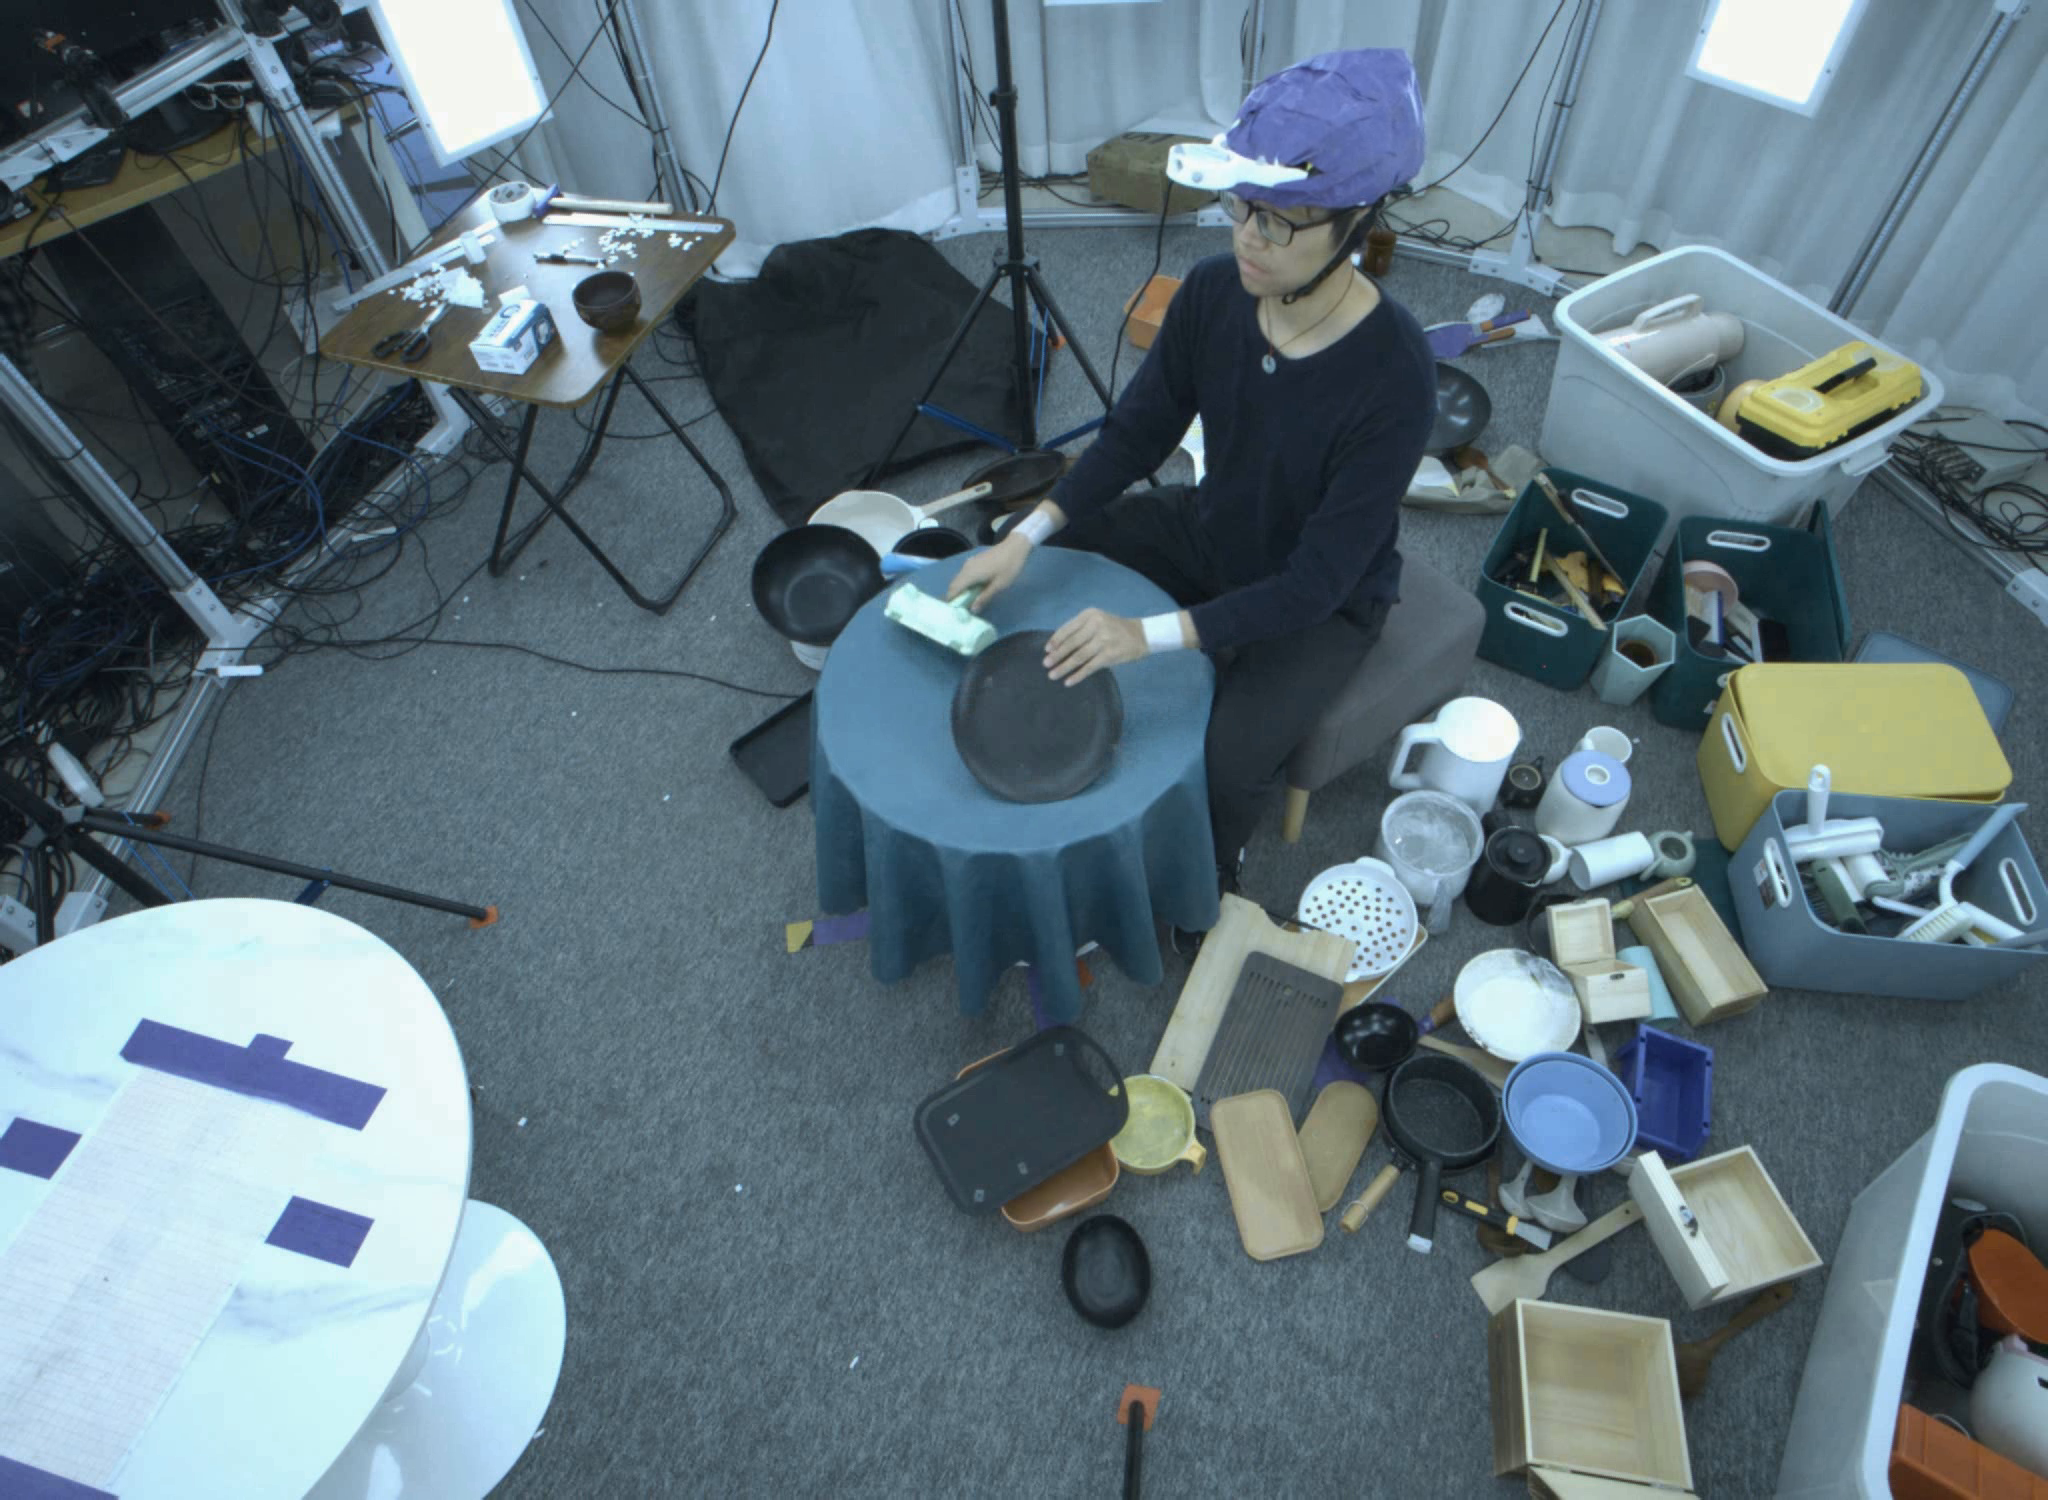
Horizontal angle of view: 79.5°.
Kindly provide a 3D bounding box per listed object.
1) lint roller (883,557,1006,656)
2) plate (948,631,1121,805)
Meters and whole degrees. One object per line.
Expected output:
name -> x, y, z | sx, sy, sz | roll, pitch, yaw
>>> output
lint roller -> -0.099, -0.245, 1.879 | 0.194, 0.084, 0.183 | 30, 75, 32
plate -> 0.015, -0.045, 1.733 | 0.245, 0.023, 0.244 | 0, 93, -5
